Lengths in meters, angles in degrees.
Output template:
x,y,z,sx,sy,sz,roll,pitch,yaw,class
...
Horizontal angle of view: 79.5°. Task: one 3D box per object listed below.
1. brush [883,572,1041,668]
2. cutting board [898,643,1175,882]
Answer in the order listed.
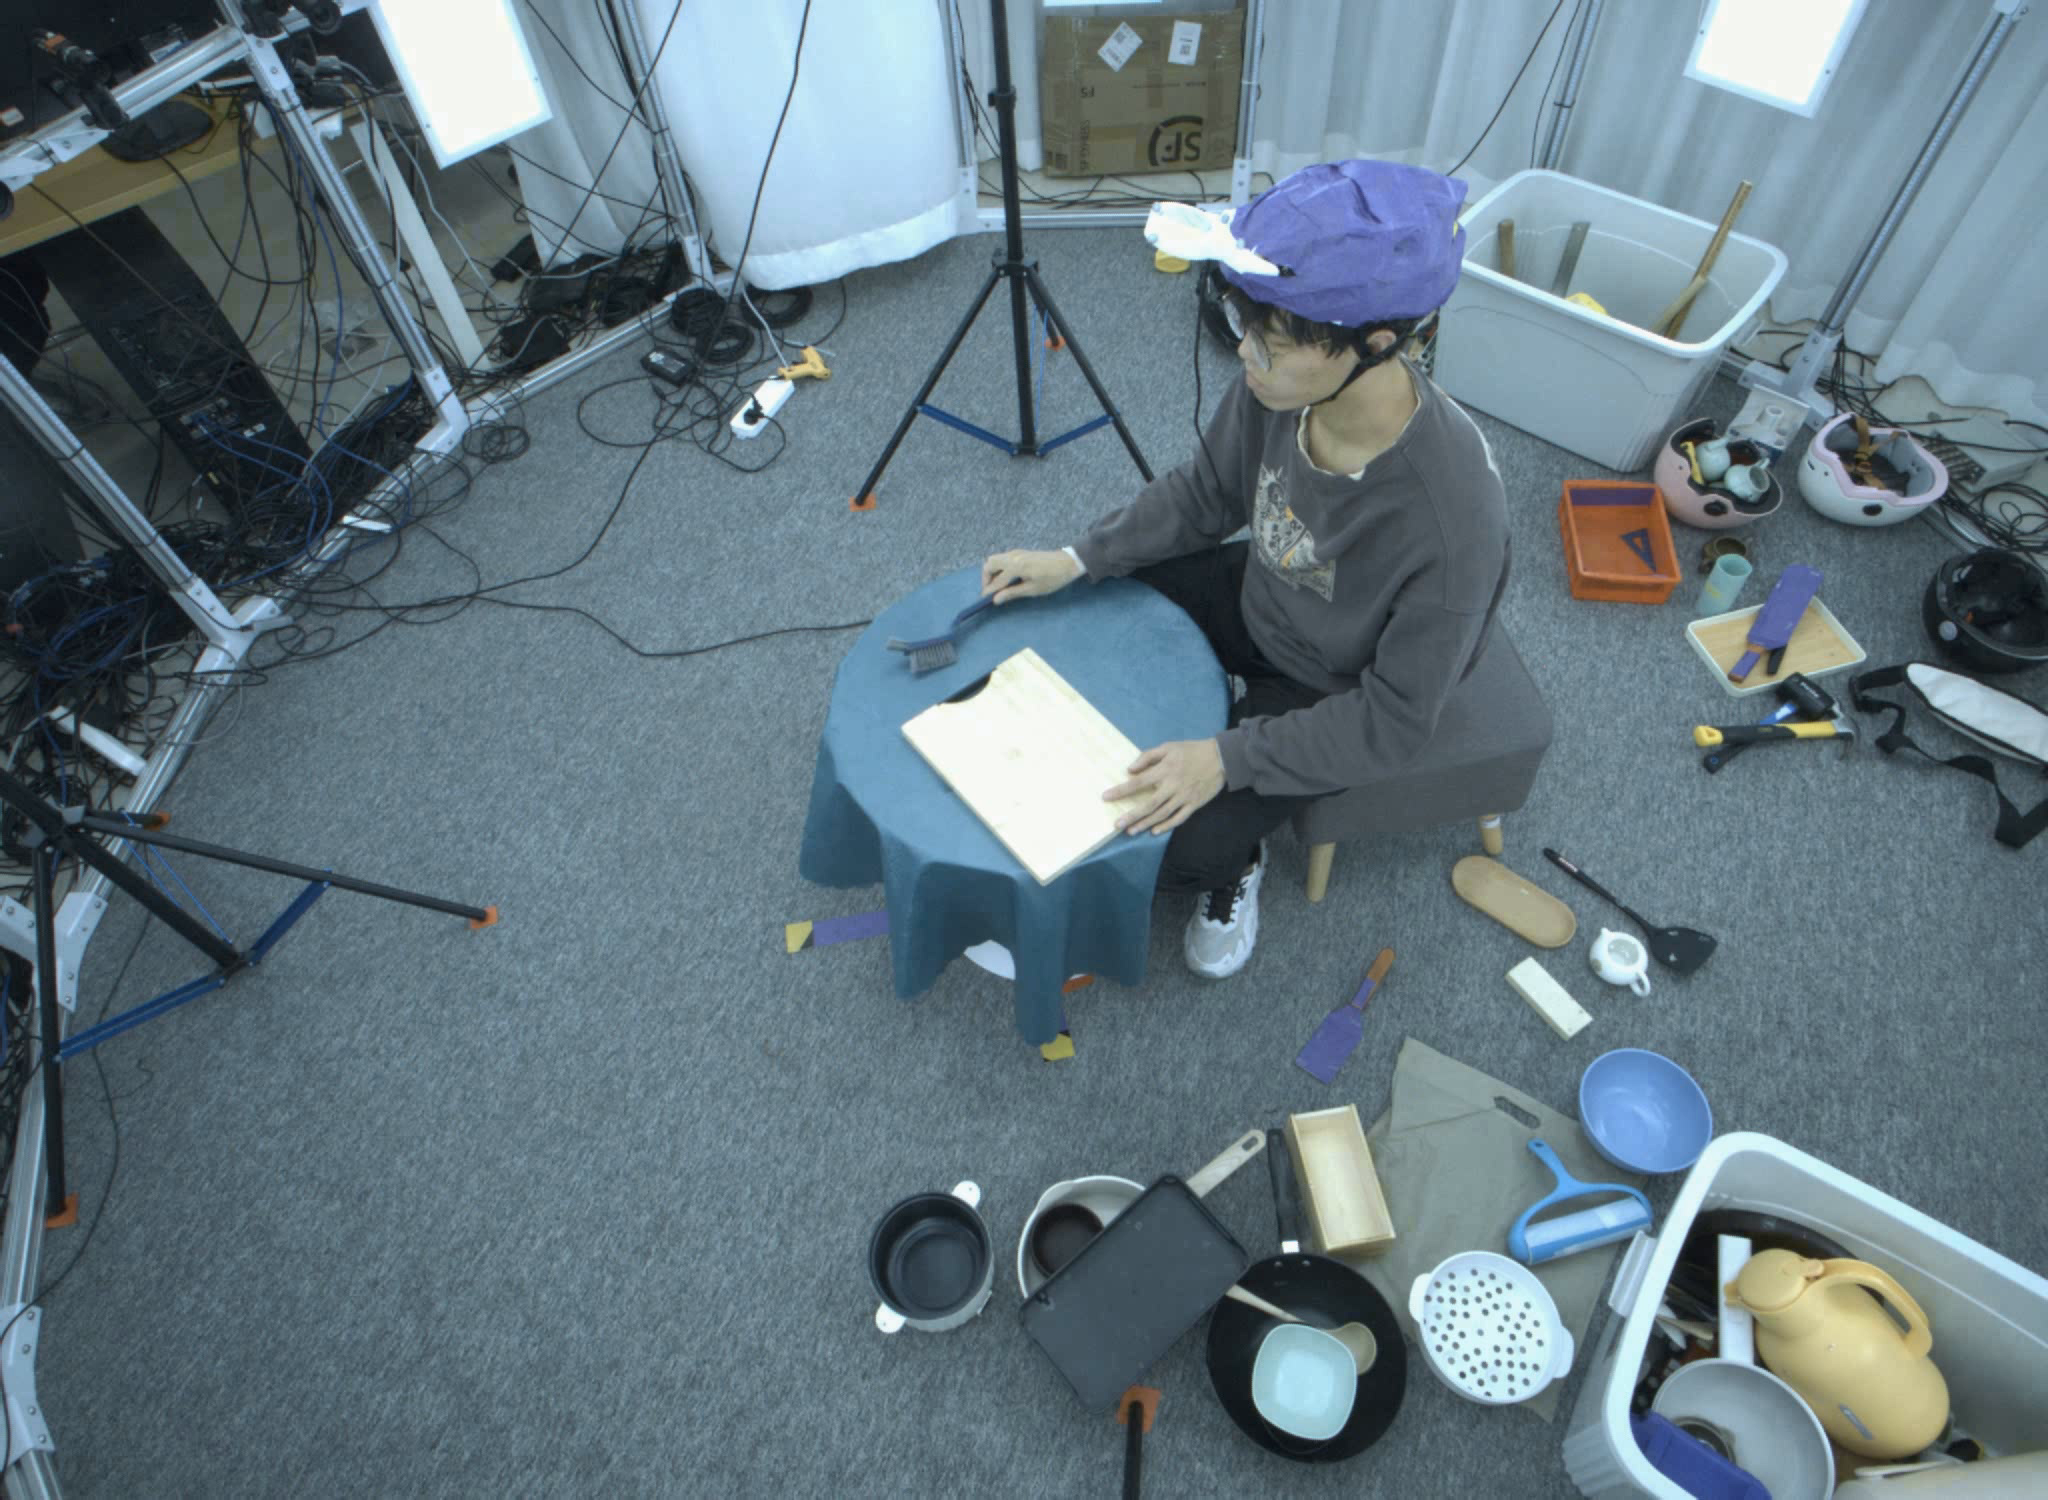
x,y,z,sx,sy,sz,roll,pitch,yaw,class
-0.091,-0.219,1.915,0.275,0.033,0.095,-41,89,-25,brush
0.013,0.009,1.768,0.253,0.024,0.342,-34,60,-21,cutting board
